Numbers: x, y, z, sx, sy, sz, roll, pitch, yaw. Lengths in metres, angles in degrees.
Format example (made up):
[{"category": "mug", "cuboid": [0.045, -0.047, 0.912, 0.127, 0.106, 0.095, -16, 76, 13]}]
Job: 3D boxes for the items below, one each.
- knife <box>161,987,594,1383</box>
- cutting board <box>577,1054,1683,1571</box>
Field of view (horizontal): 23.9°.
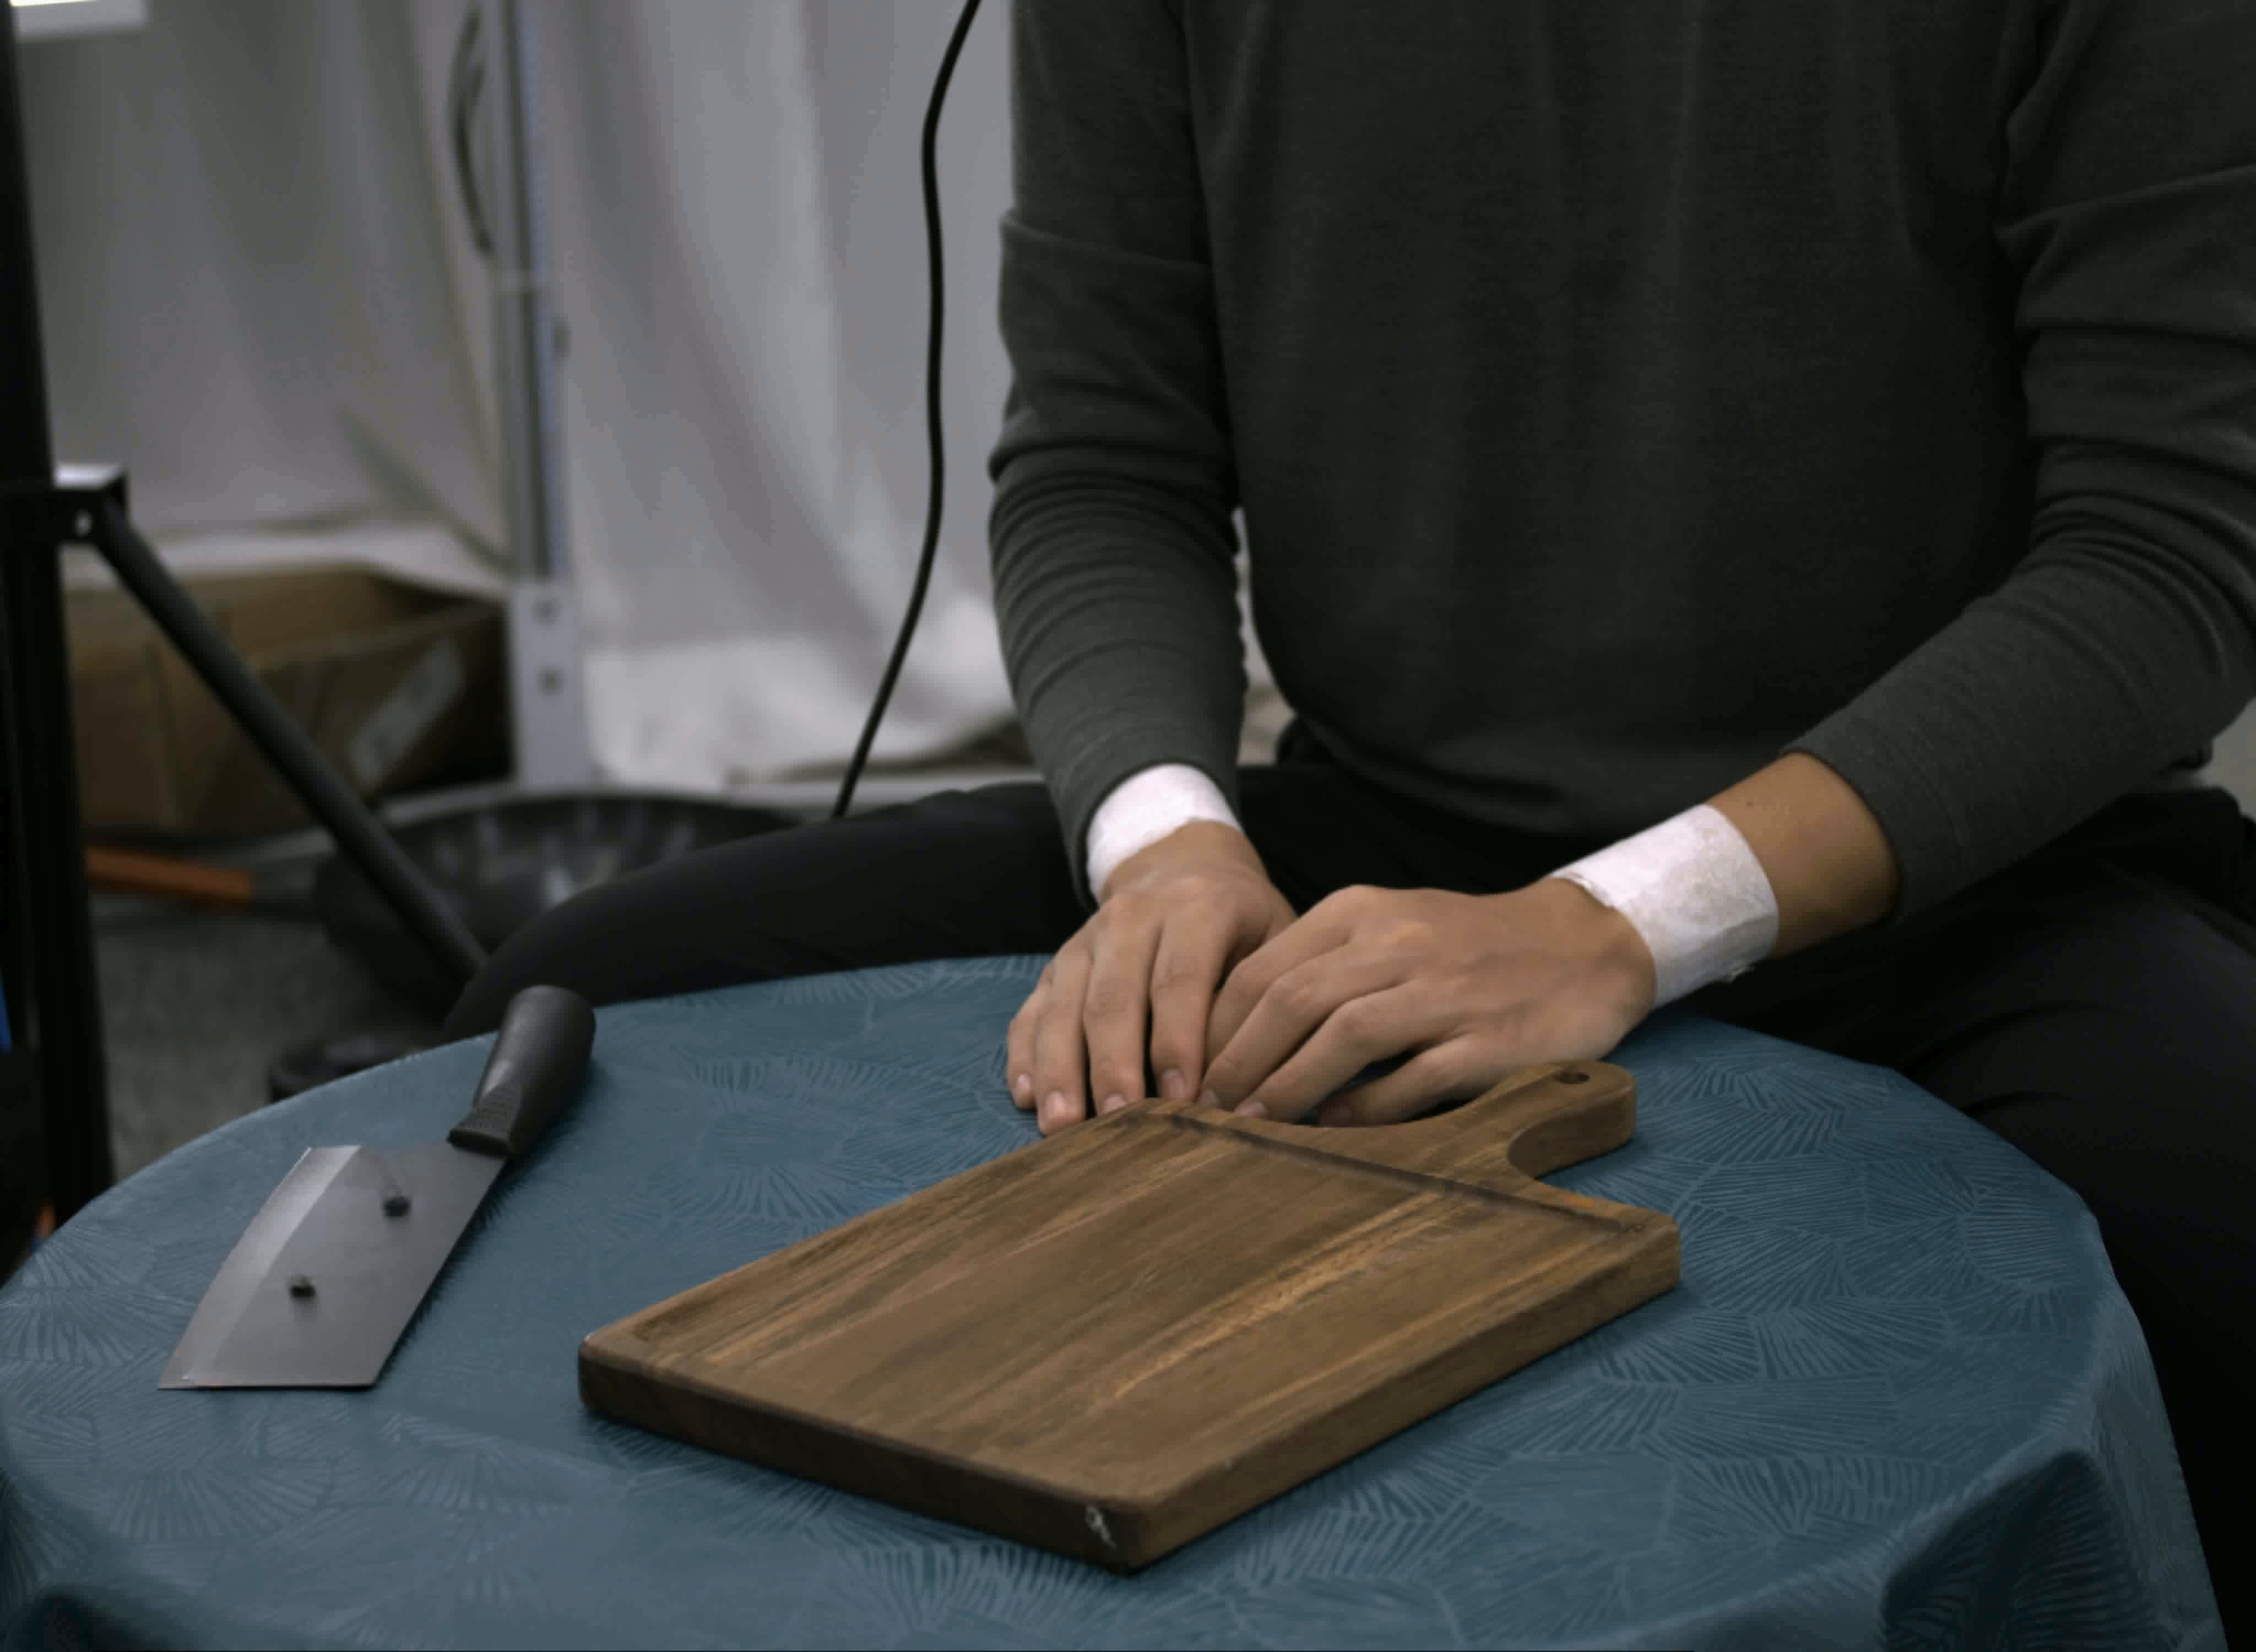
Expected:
[{"category": "knife", "cuboid": [-0.214, 0.105, 1.581, 0.081, 0.021, 0.301, 0, 18, 12]}, {"category": "cutting board", "cuboid": [0.035, 0.120, 1.475, 0.205, 0.023, 0.344, 11, 21, 38]}]
